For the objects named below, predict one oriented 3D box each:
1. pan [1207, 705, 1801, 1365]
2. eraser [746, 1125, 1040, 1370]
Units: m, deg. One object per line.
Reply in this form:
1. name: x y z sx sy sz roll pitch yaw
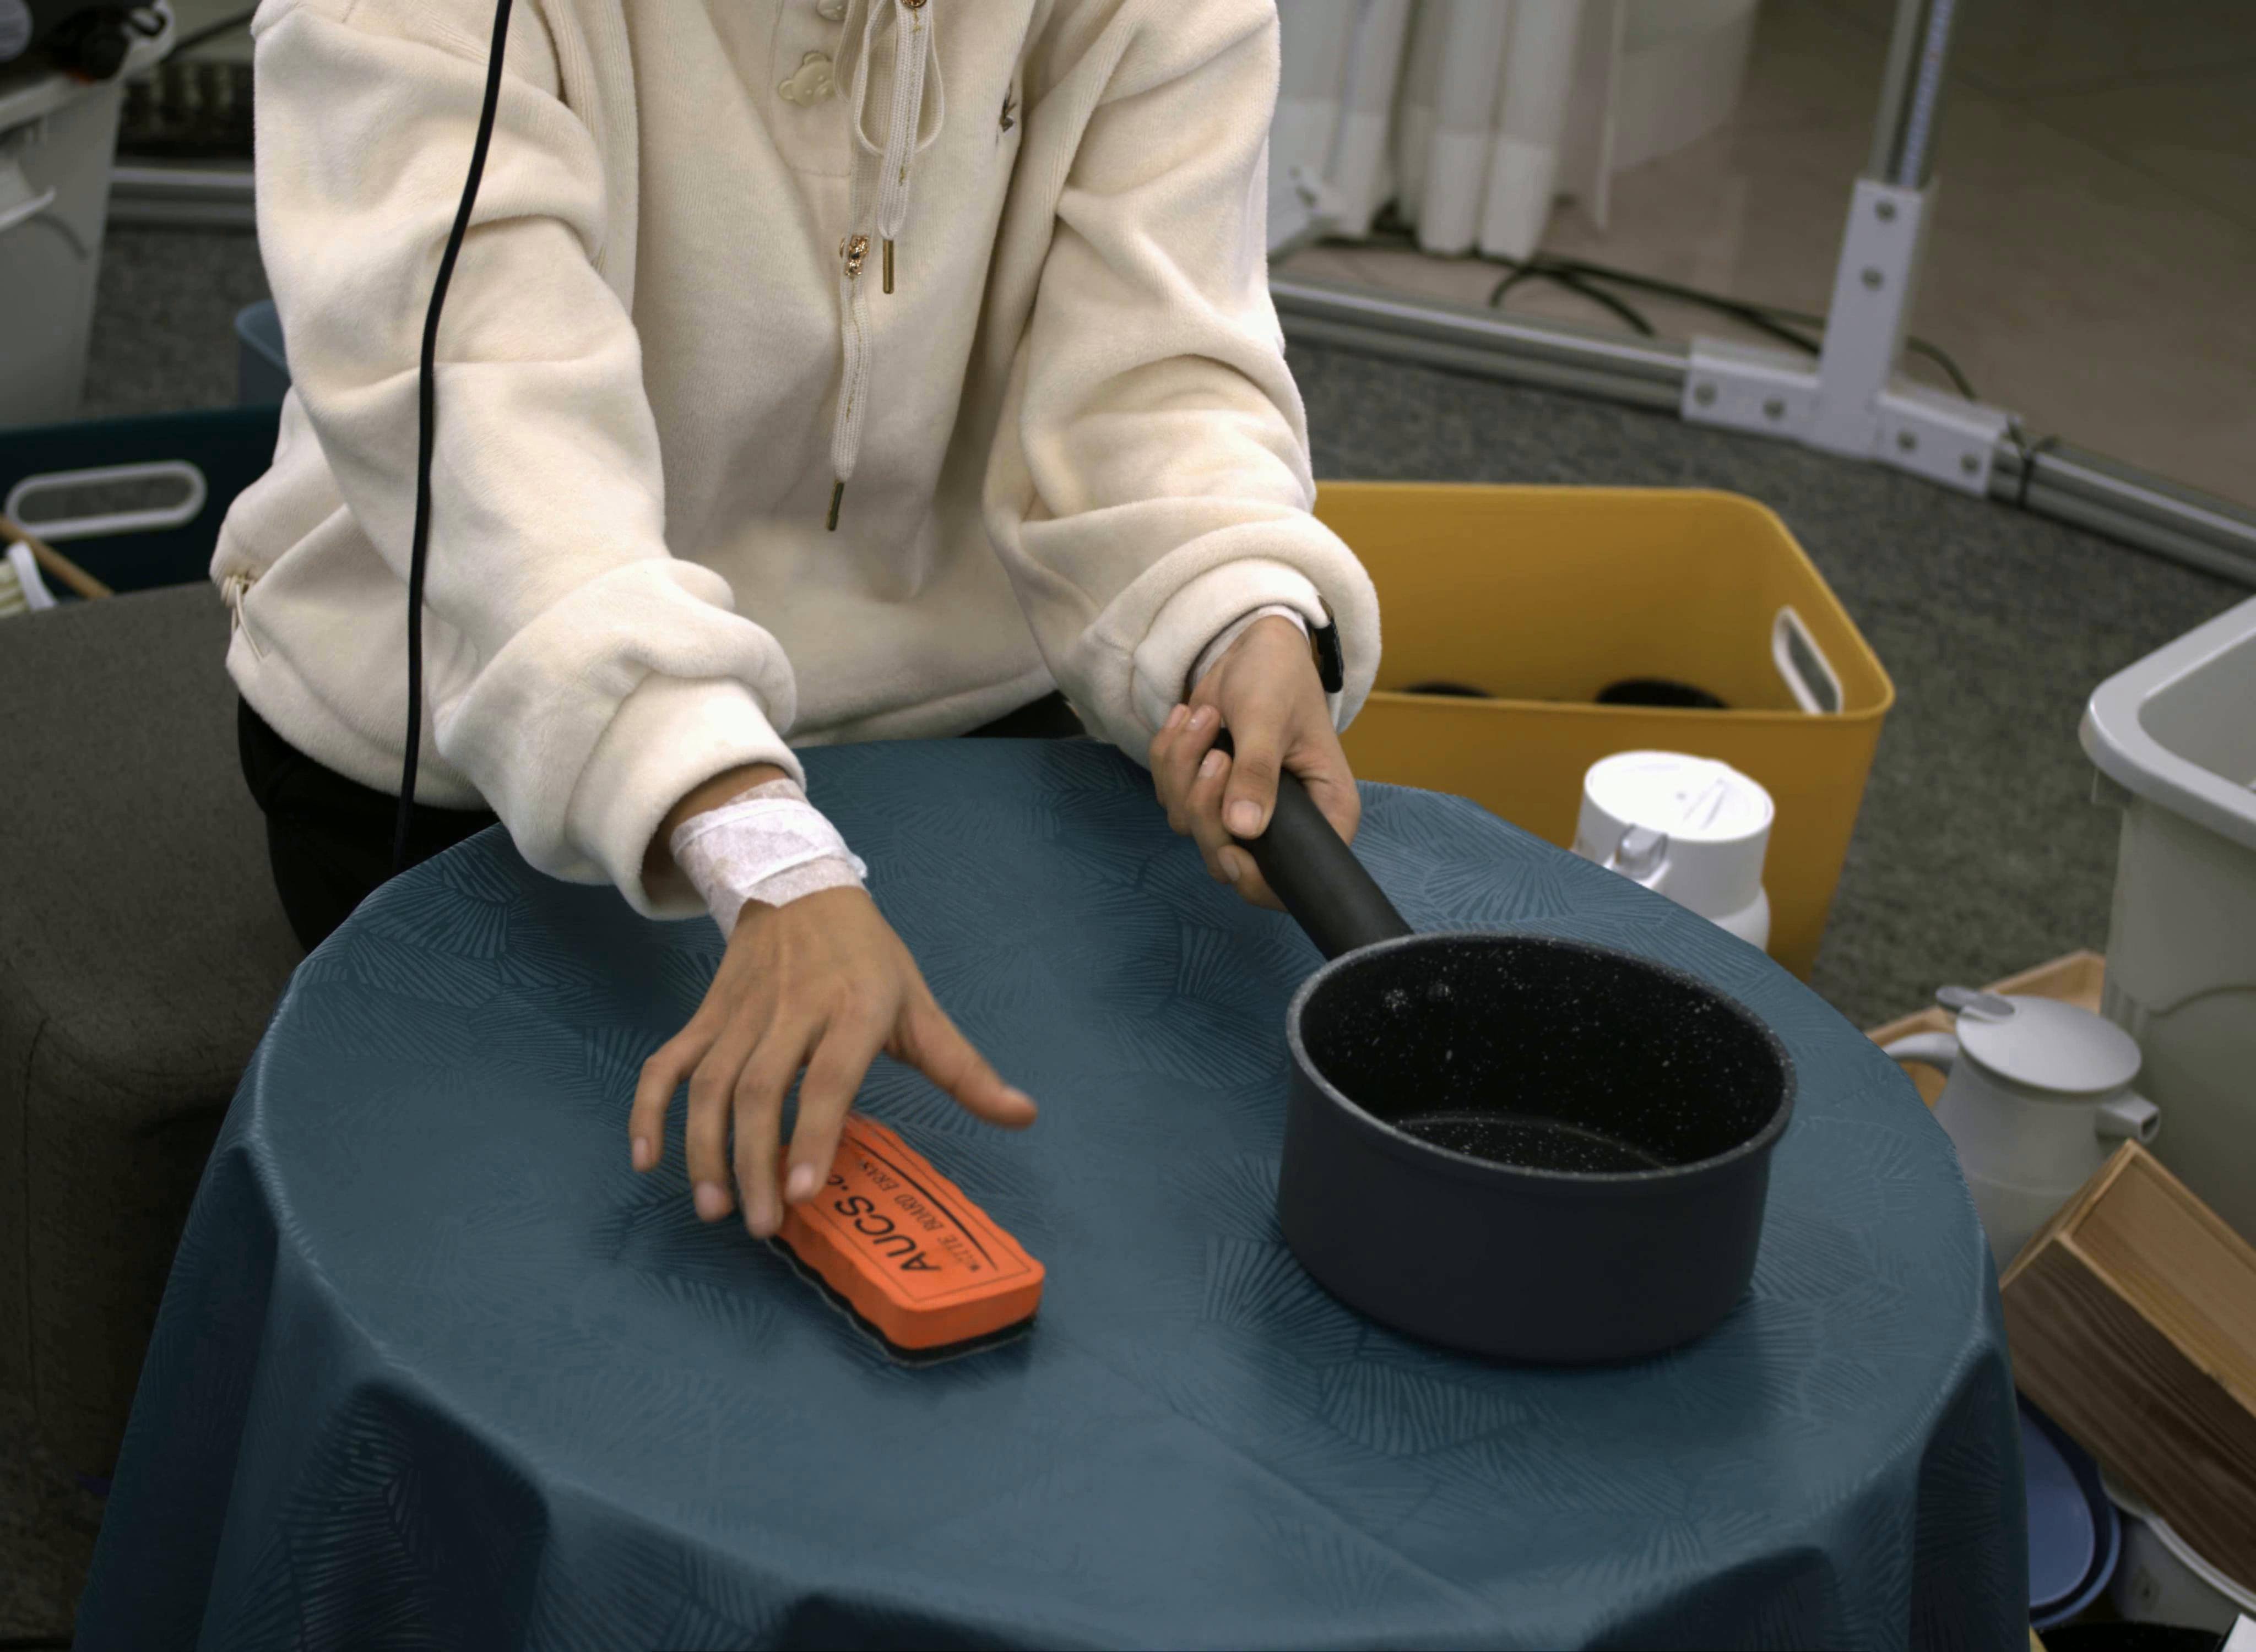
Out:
1. pan: 0.102 0.069 1.840 0.171 0.086 0.332 -6 30 -23
2. eraser: -0.077 0.136 1.734 0.058 0.023 0.109 -13 32 -30
